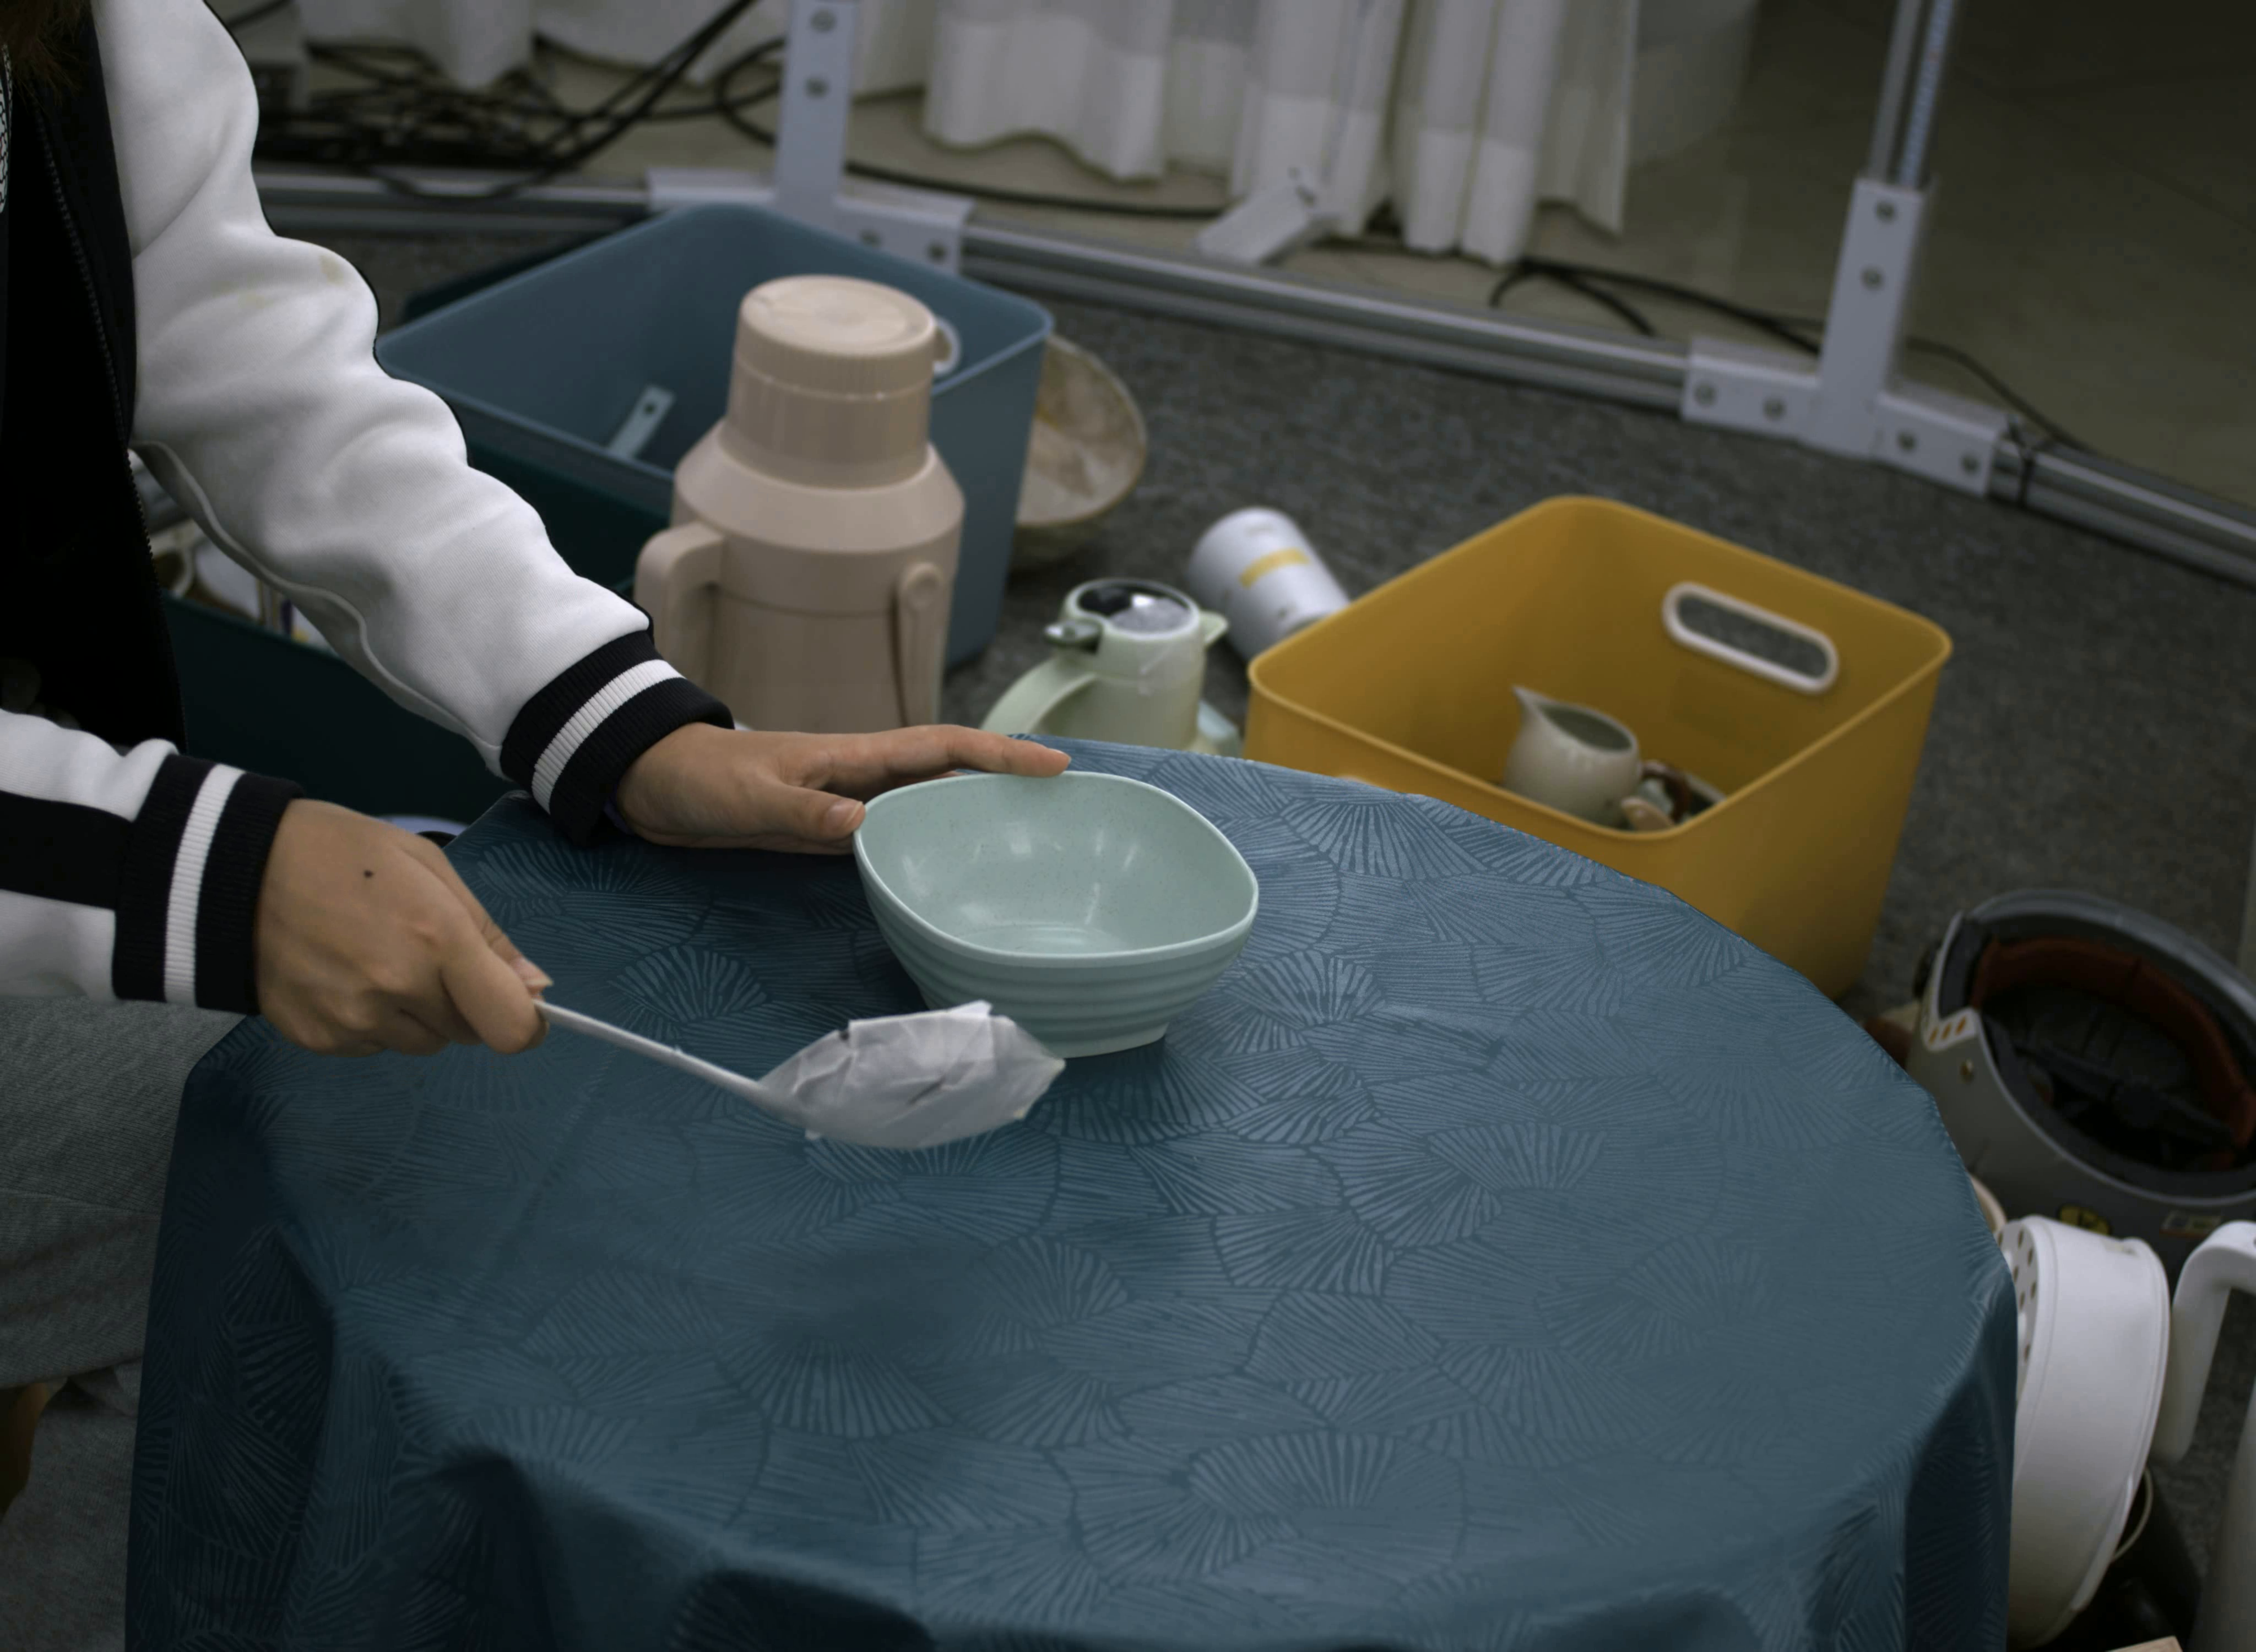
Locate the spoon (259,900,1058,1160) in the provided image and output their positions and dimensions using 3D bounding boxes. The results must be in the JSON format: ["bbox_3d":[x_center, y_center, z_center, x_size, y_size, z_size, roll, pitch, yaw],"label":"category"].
[{"bbox_3d":[-0.155,0.051,1.724,0.278,0.100,0.059,19,65,24],"label":"spoon"}]

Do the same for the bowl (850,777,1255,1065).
[{"bbox_3d":[-0.030,0.040,1.903,0.151,0.058,0.152,5,27,-3],"label":"bowl"}]
